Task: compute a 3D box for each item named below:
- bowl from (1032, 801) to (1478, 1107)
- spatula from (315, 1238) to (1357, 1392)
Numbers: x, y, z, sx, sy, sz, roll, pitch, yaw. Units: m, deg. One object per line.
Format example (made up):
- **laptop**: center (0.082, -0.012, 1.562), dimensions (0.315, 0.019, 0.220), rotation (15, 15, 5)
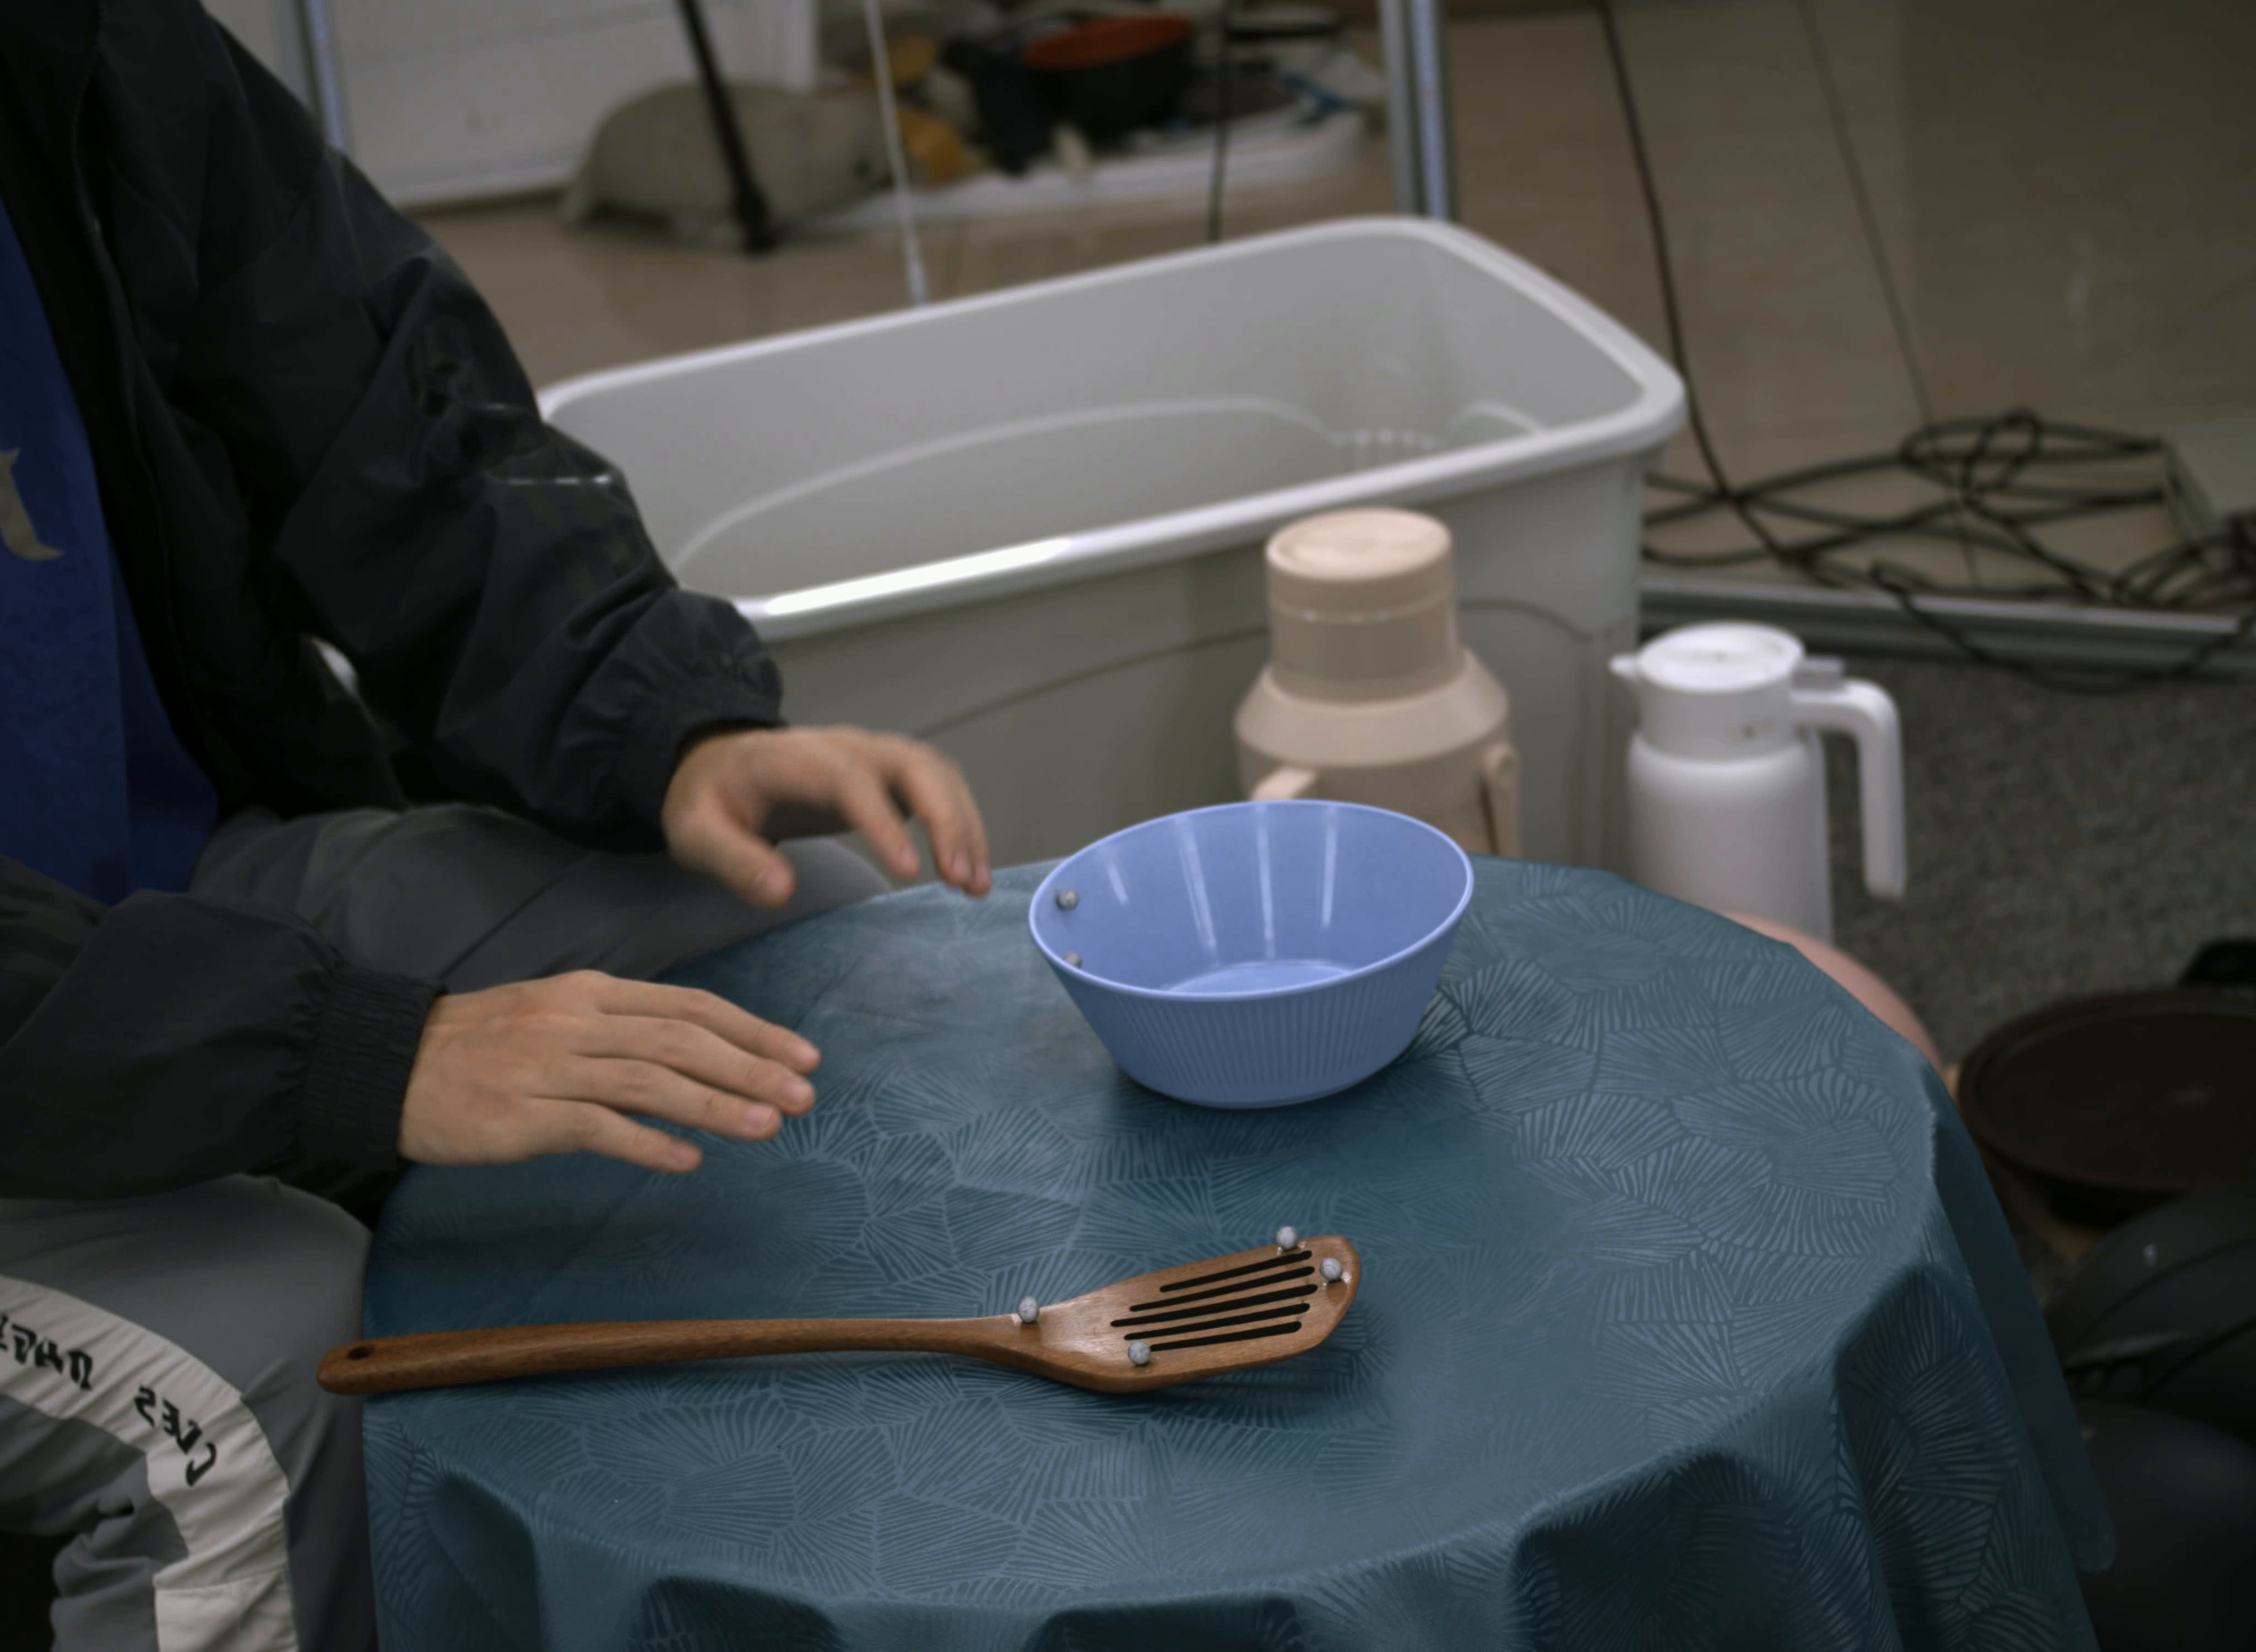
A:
- **bowl**: center (0.053, 0.056, 2.228), dimensions (0.176, 0.071, 0.173), rotation (-6, 24, 3)
- **spatula**: center (-0.108, 0.186, 2.050), dimensions (0.386, 0.024, 0.084), rotation (-4, 24, 10)
